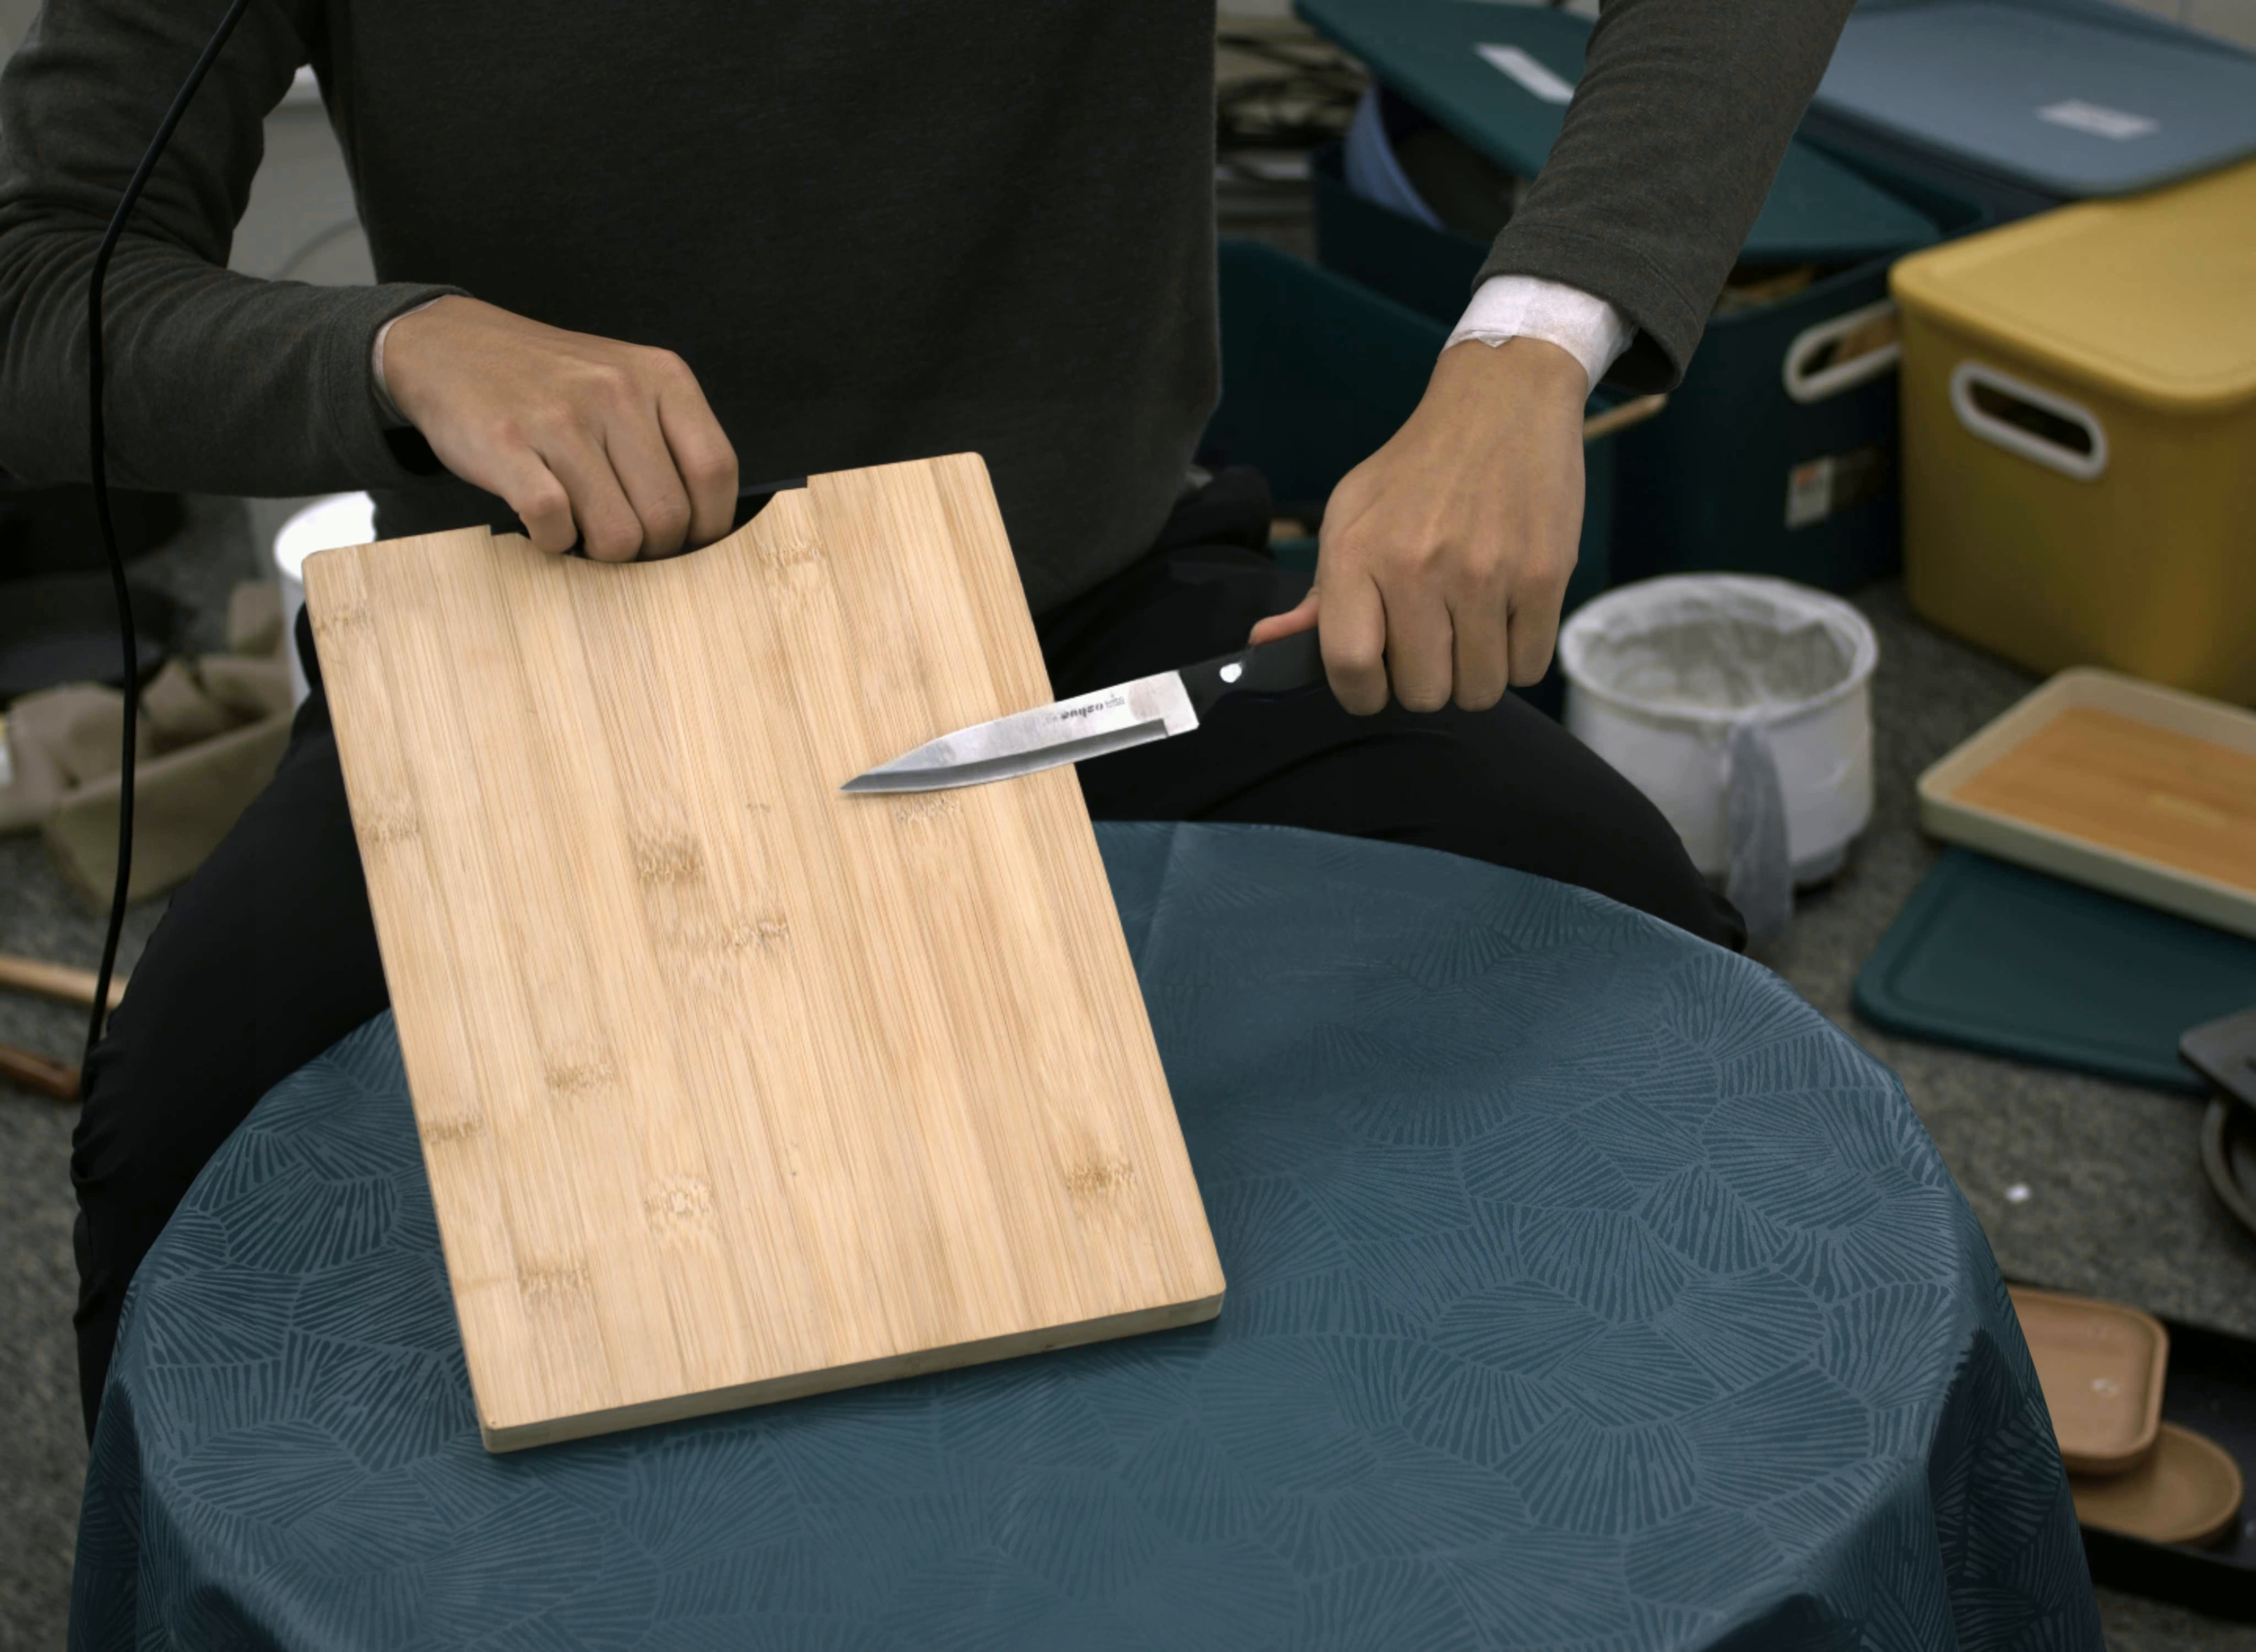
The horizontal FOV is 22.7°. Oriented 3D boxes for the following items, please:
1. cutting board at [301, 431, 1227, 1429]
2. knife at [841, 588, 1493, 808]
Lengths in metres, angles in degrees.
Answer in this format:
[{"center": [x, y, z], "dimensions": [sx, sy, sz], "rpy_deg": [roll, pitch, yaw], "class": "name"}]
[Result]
[{"center": [-0.125, 0.028, 1.852], "dimensions": [0.251, 0.023, 0.354], "rpy_deg": [-9, 57, -13], "class": "cutting board"}, {"center": [0.013, -0.043, 1.901], "dimensions": [0.239, 0.025, 0.016], "rpy_deg": [-17, -16, -17], "class": "knife"}]
